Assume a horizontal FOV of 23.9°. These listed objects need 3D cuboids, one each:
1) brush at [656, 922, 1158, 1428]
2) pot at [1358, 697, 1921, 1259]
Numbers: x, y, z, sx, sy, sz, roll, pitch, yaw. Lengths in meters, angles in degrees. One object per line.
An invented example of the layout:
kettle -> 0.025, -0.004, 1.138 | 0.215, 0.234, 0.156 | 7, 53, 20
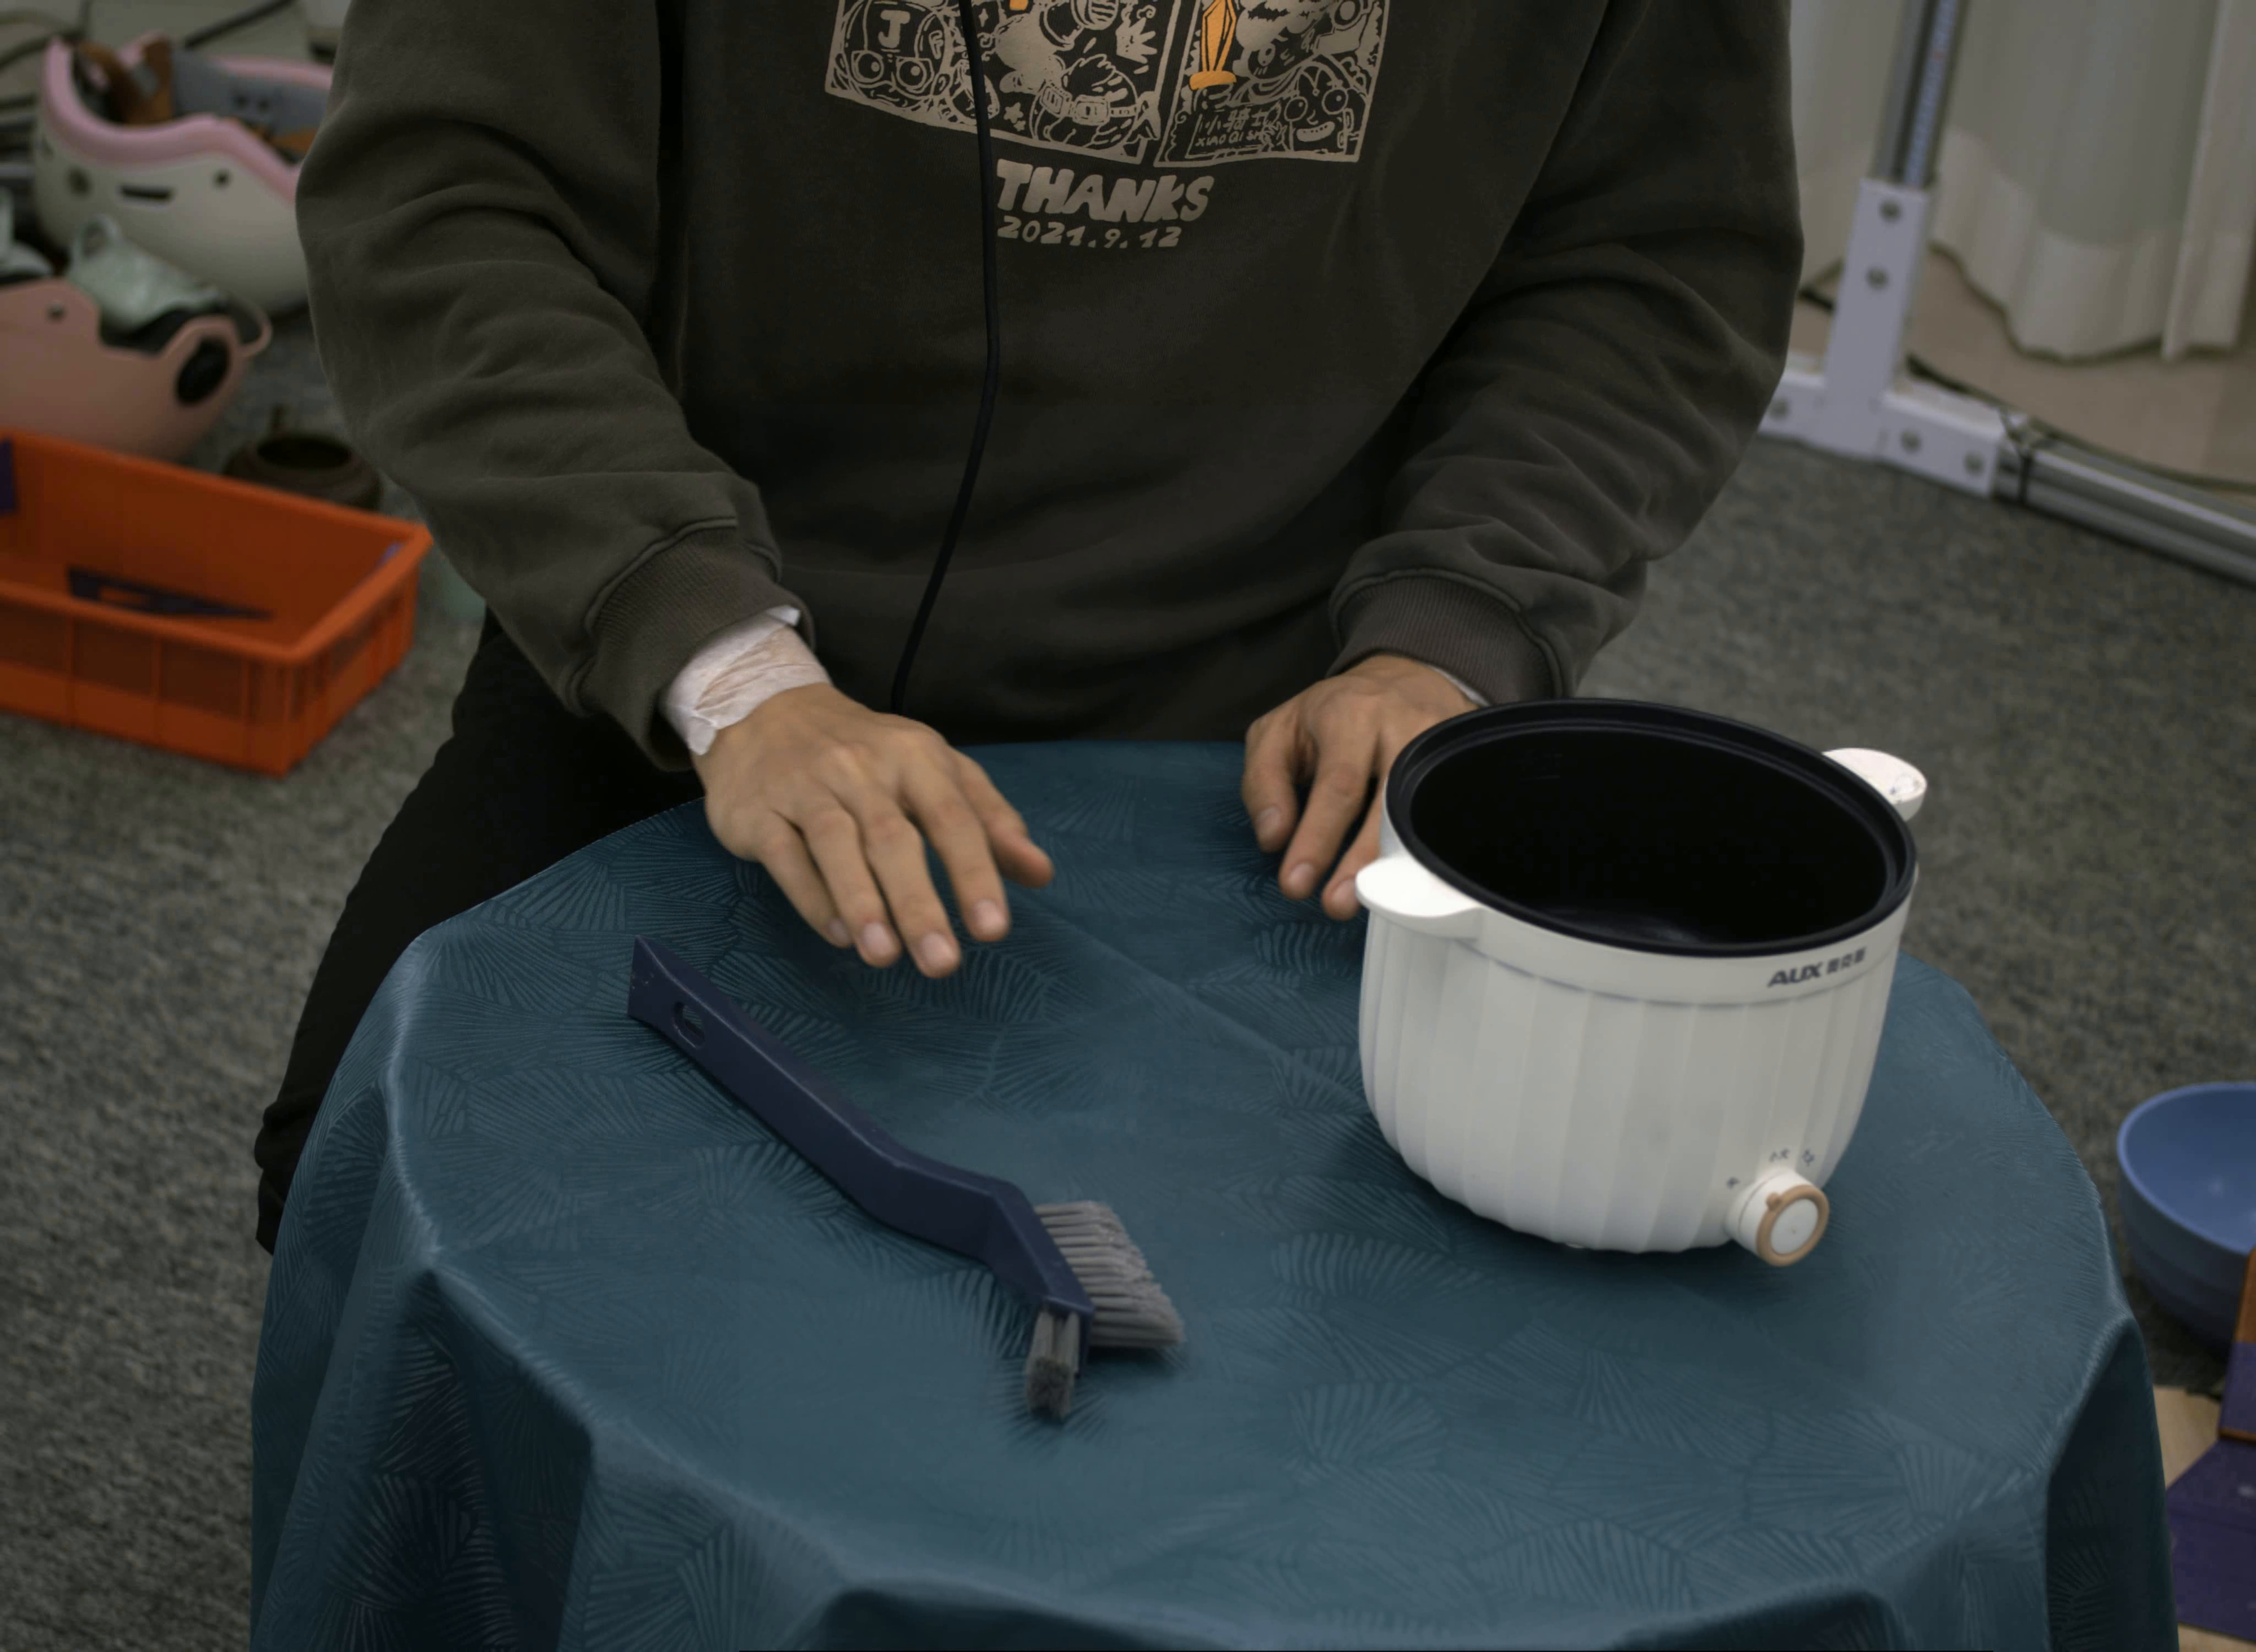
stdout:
brush -> -0.093, 0.111, 1.773 | 0.095, 0.033, 0.275 | -19, 37, -40
pot -> 0.174, 0.057, 1.820 | 0.239, 0.142, 0.192 | -14, 29, -33
